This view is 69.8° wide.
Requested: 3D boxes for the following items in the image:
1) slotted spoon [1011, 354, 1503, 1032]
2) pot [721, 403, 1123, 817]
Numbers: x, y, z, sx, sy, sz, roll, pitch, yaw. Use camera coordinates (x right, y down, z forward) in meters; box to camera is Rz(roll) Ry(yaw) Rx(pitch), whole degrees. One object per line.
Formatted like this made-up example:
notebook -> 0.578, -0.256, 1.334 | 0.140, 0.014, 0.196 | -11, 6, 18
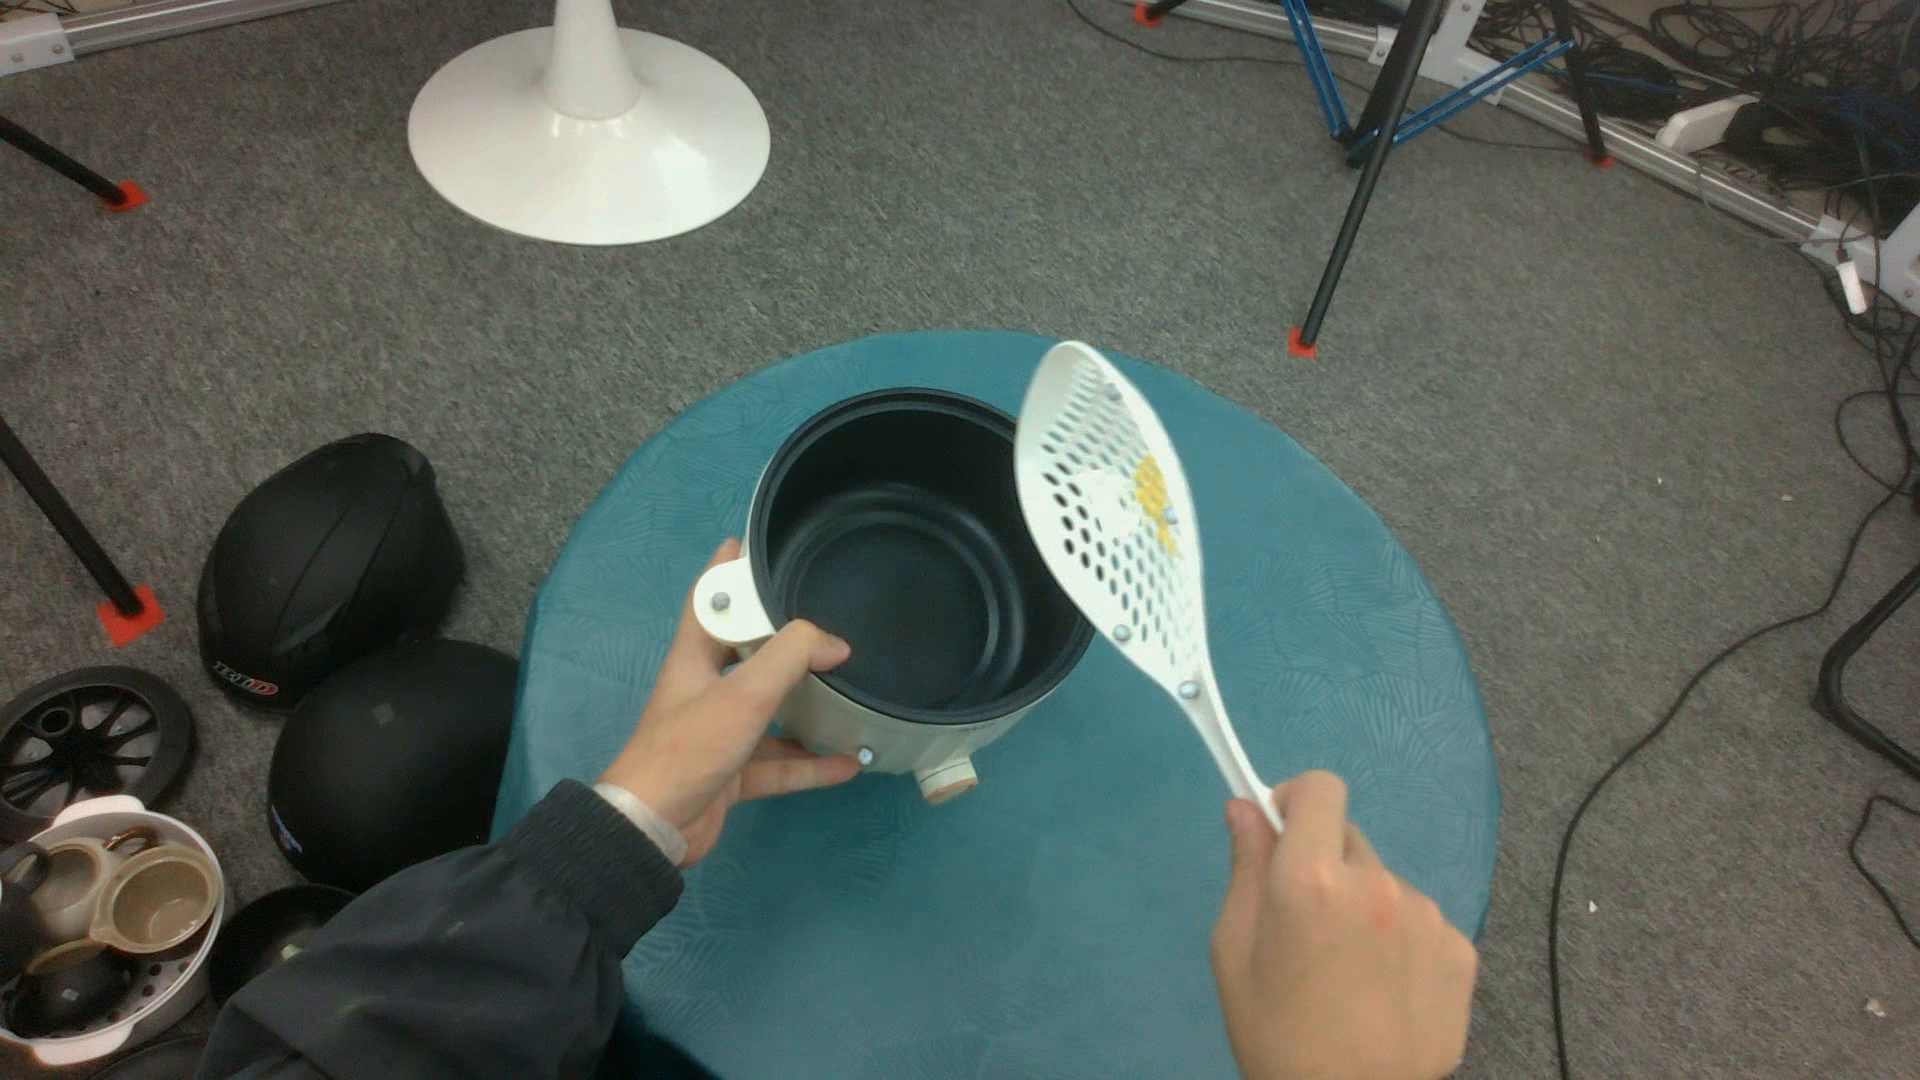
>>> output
slotted spoon -> 0.120, 0.062, 0.615 | 0.050, 0.136, 0.349 | -13, 59, -23
pot -> -0.015, 0.044, 0.740 | 0.241, 0.142, 0.191 | -19, 66, -22
